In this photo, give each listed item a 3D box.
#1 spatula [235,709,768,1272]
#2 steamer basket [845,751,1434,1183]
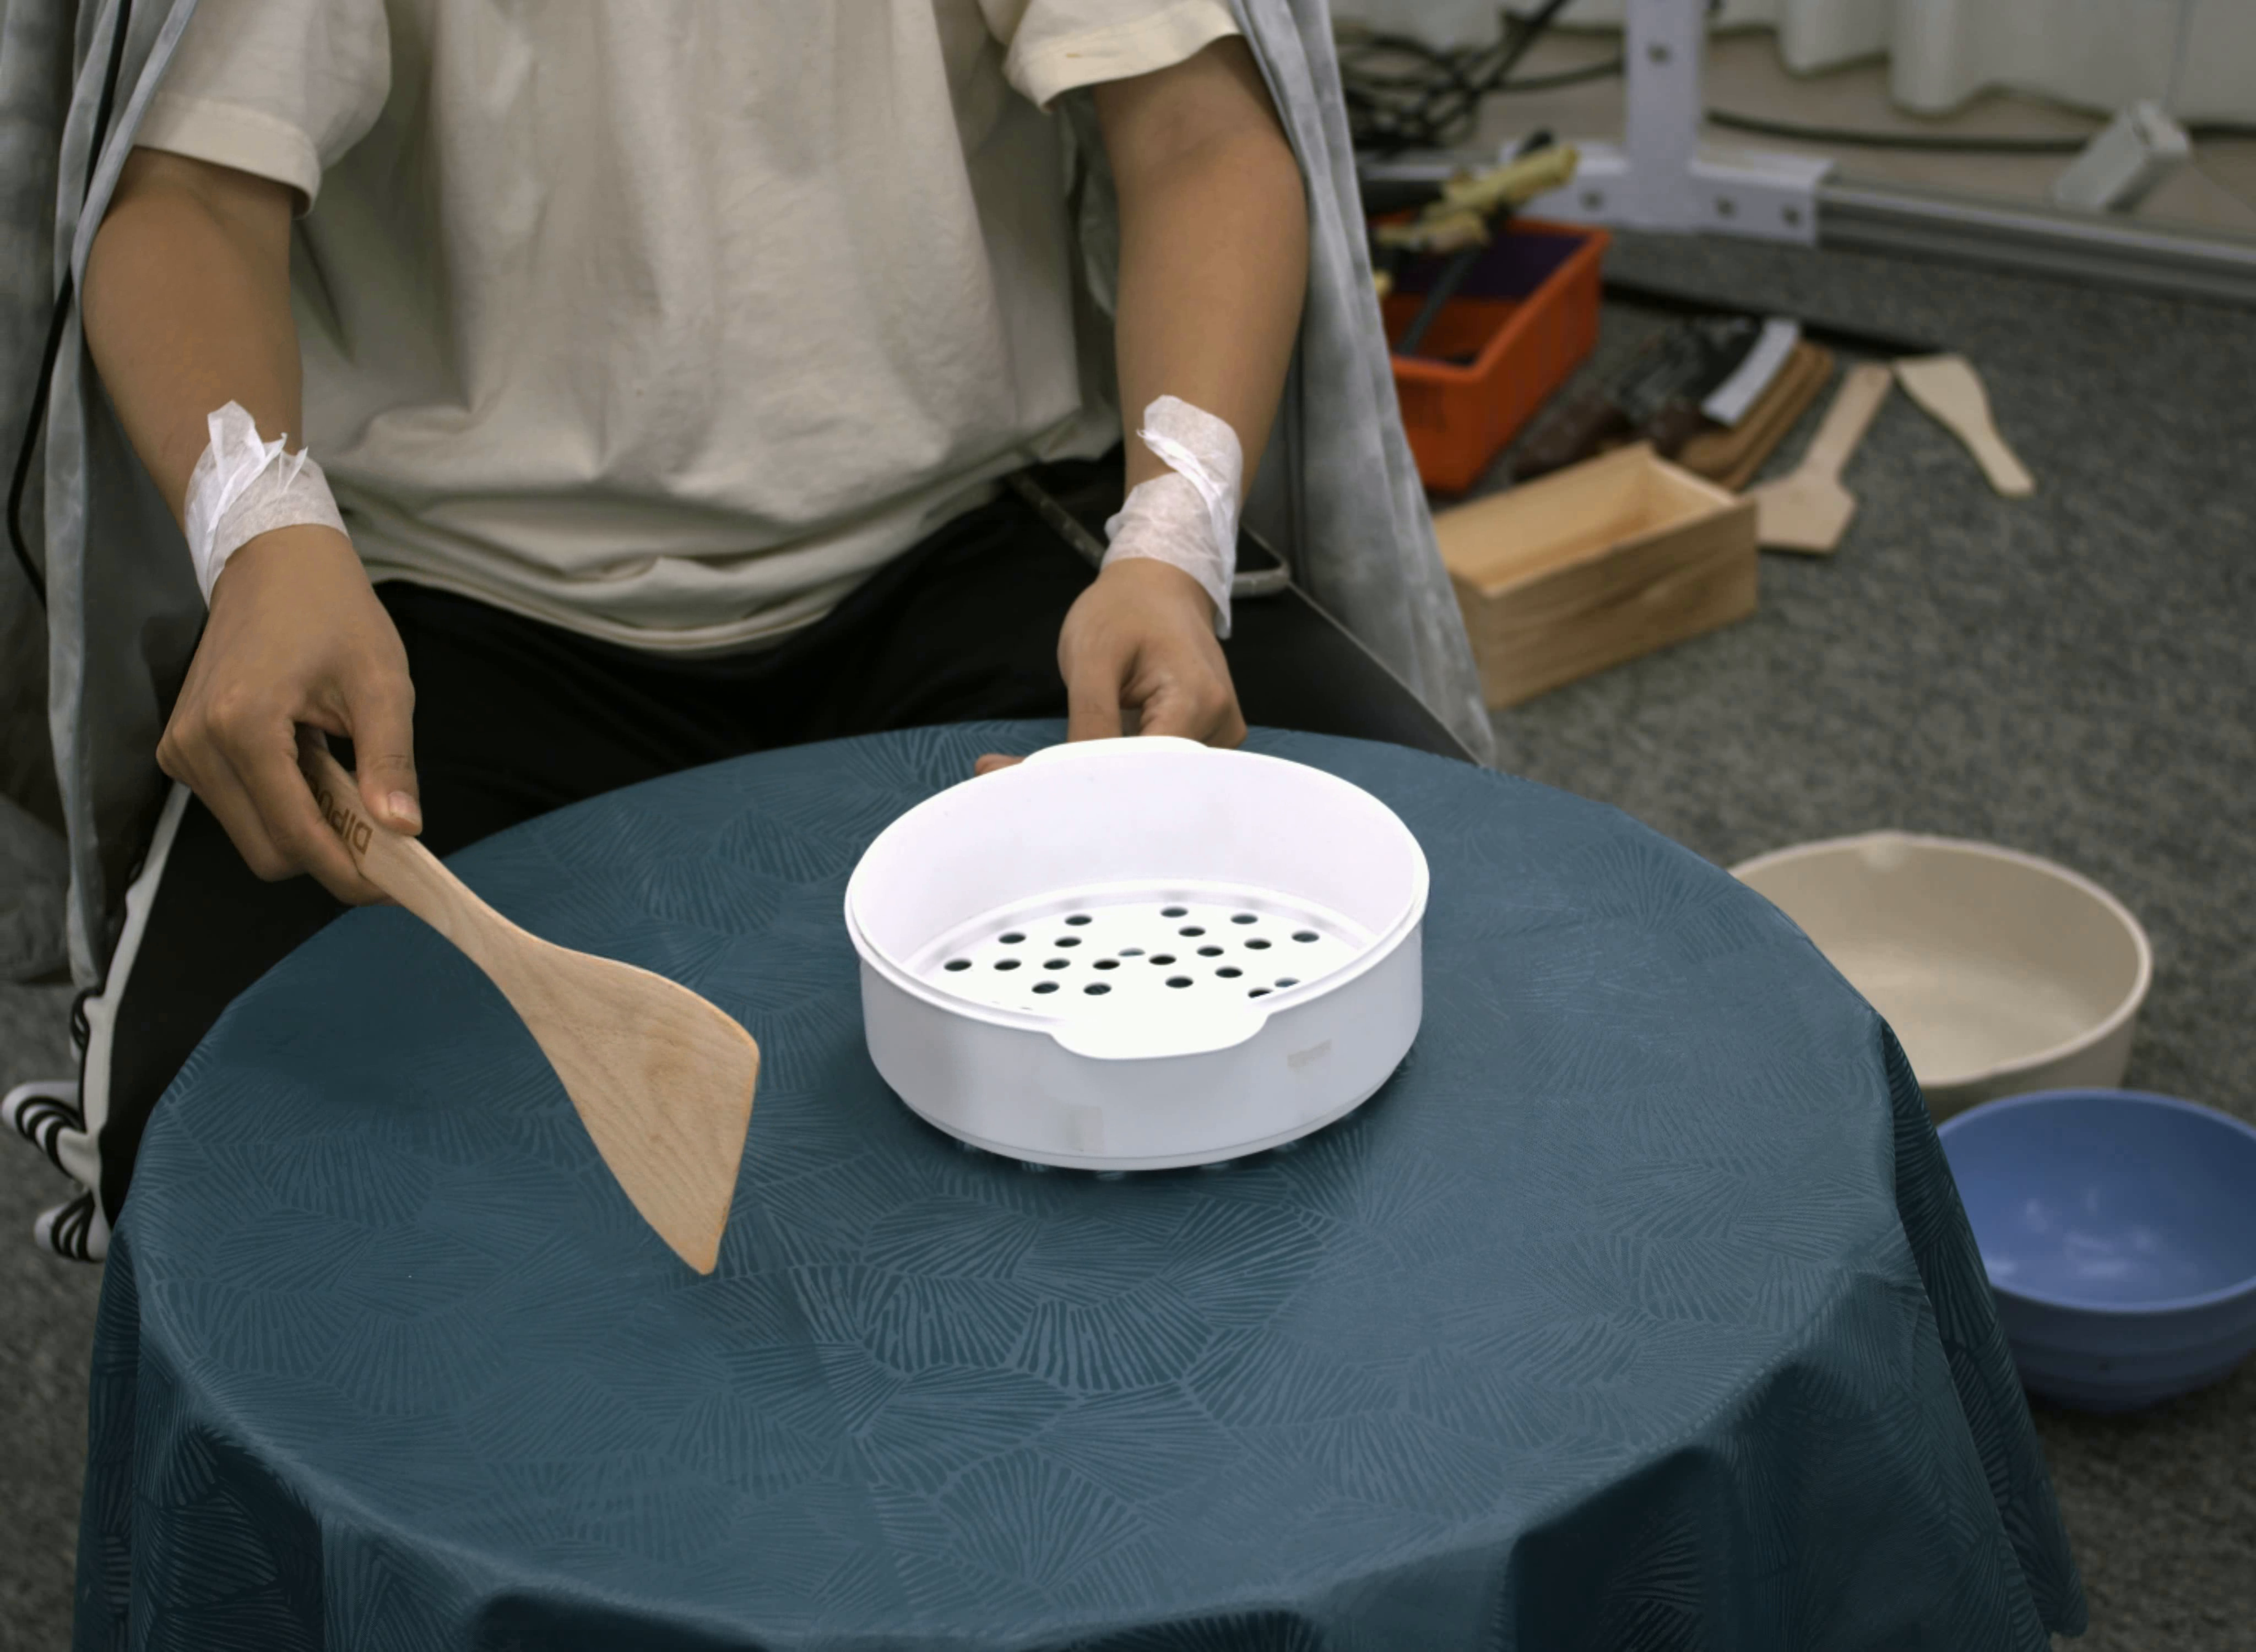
[{"bbox_3d":[-0.213,0.038,1.867,0.016,0.079,0.329,3,24,-44],"label":"spatula"},{"bbox_3d":[0.005,0.050,1.929,0.201,0.068,0.234,-3,26,-3],"label":"steamer basket"}]
